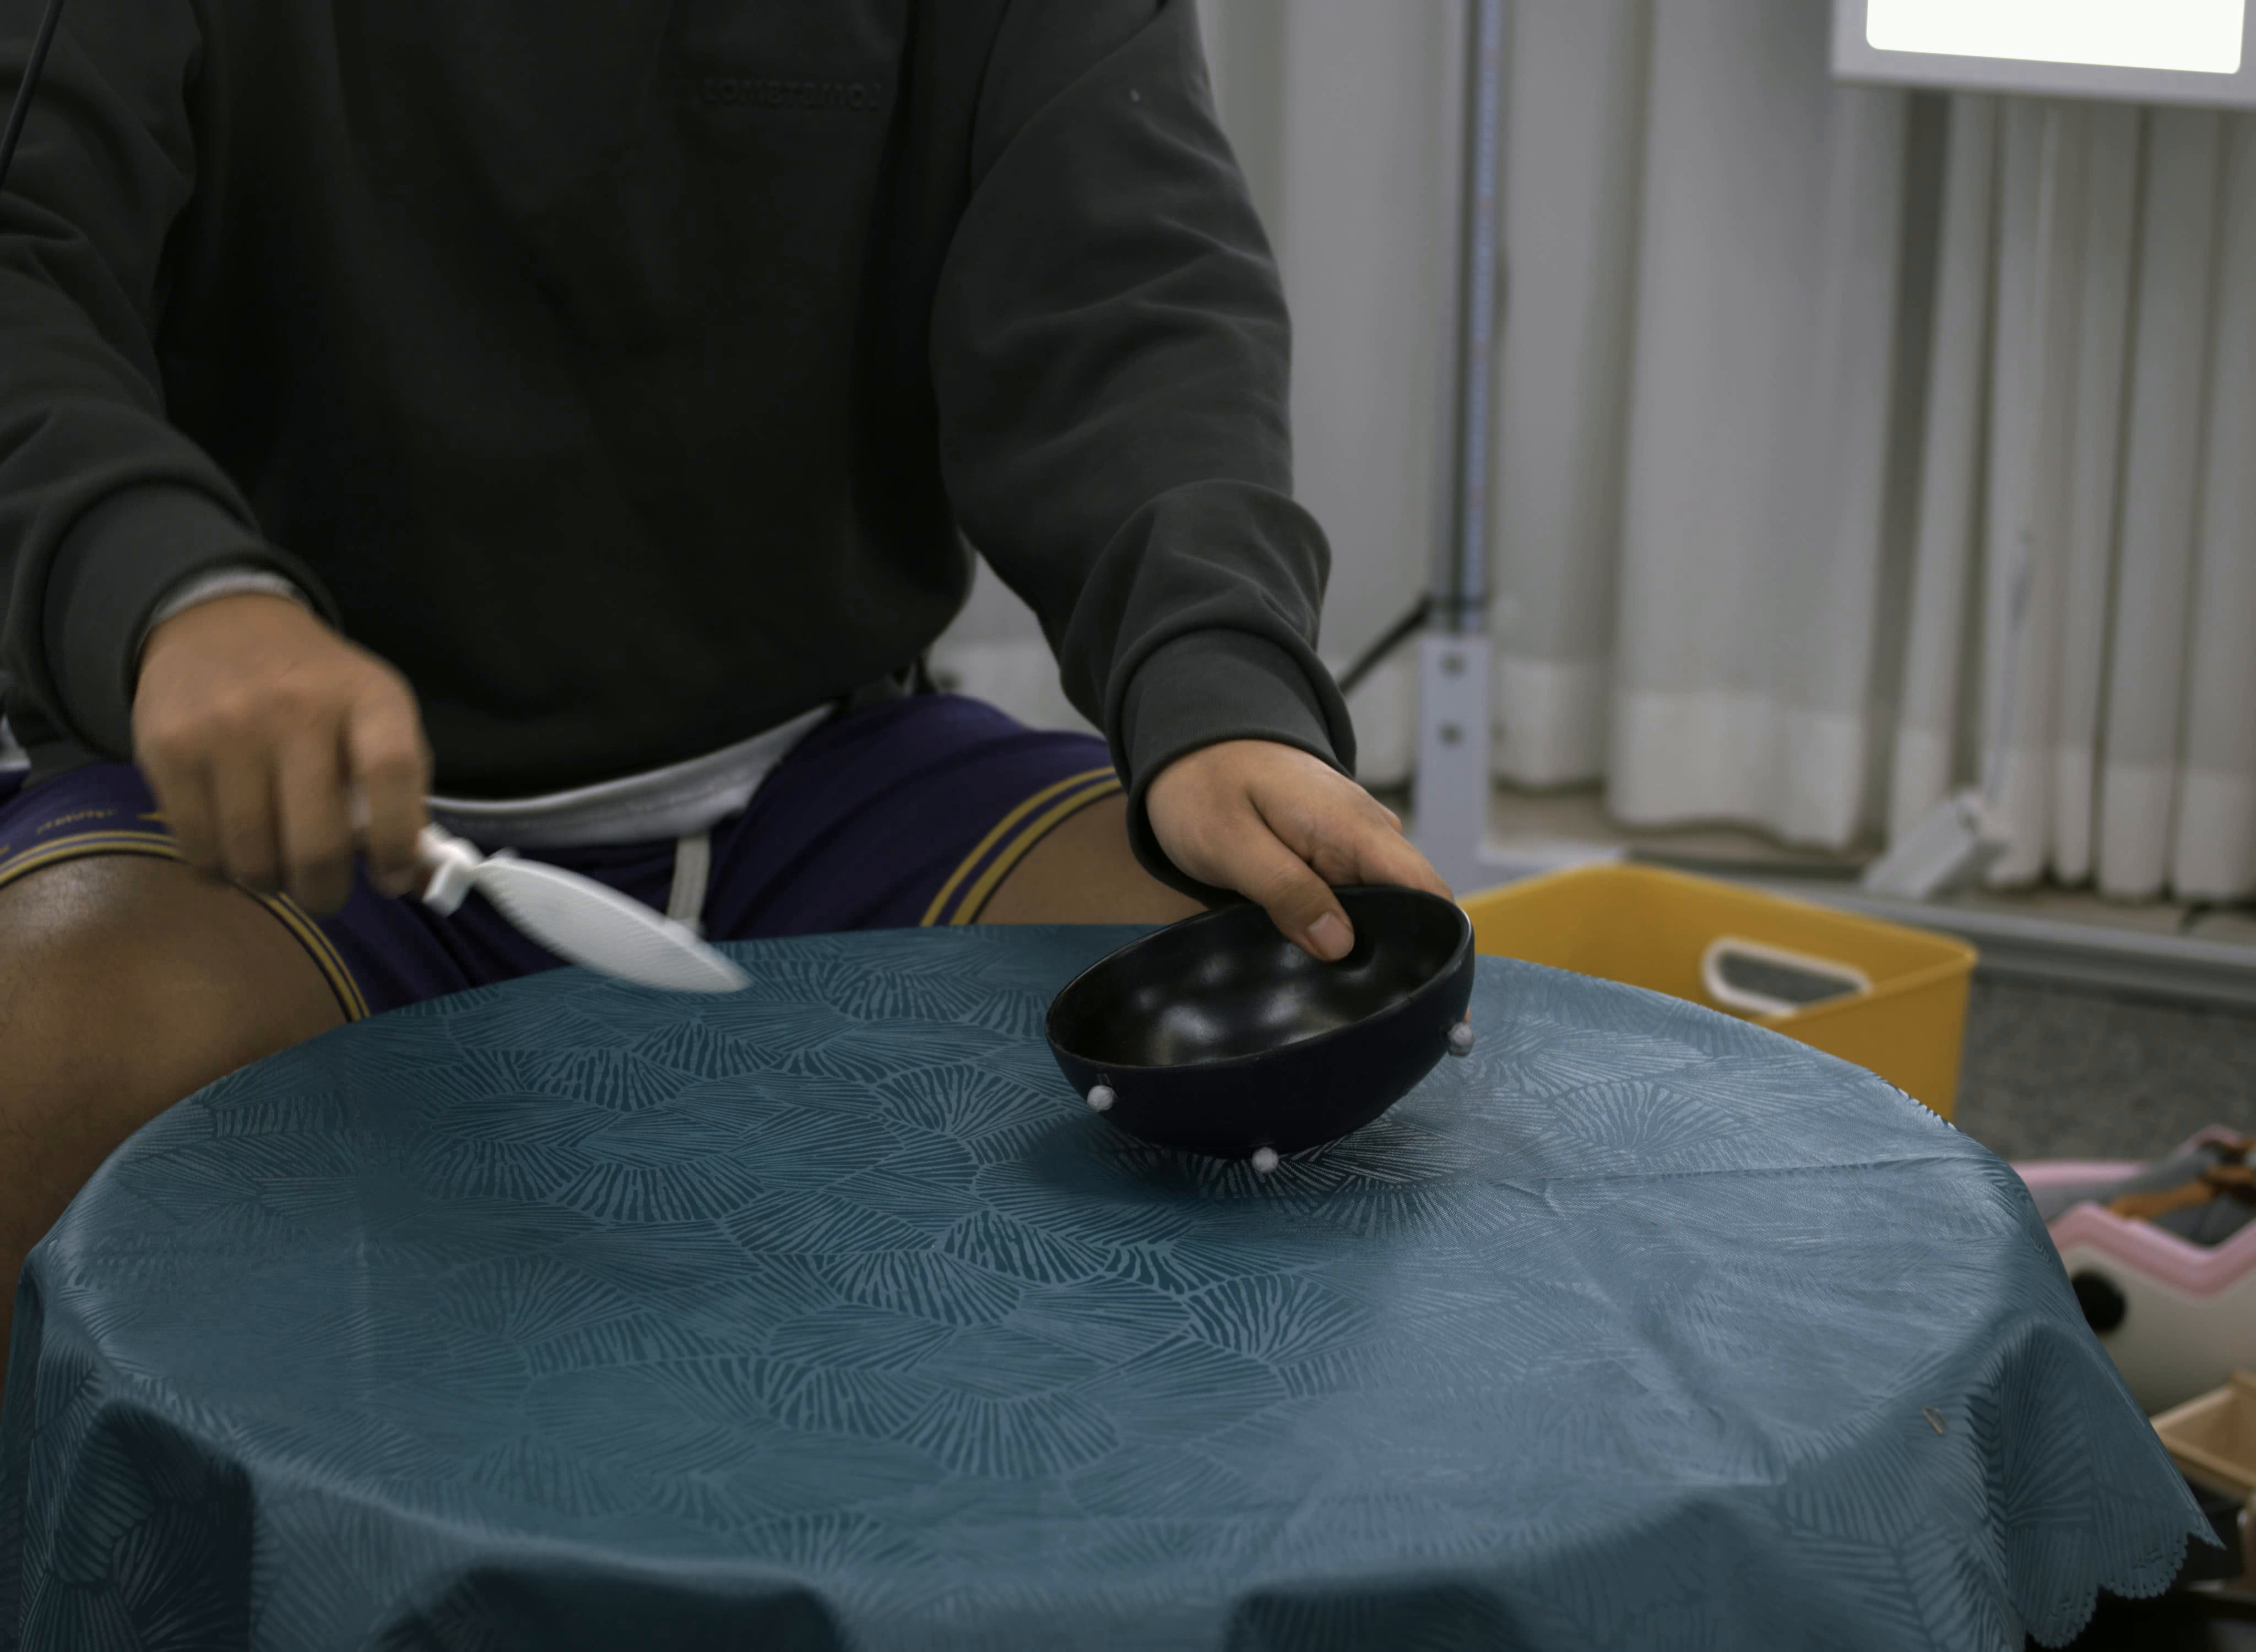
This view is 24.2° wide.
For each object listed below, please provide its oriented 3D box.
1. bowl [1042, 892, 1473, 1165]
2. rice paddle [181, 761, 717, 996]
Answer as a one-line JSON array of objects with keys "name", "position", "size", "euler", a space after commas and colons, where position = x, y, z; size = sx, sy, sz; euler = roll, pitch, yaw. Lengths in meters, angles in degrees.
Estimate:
[{"name": "bowl", "position": [0.046, 0.070, 1.659], "size": [0.139, 0.050, 0.139], "euler": [-13, 17, 5]}, {"name": "rice paddle", "position": [-0.203, 0.017, 1.581], "size": [0.202, 0.029, 0.069], "euler": [16, -15, 34]}]
